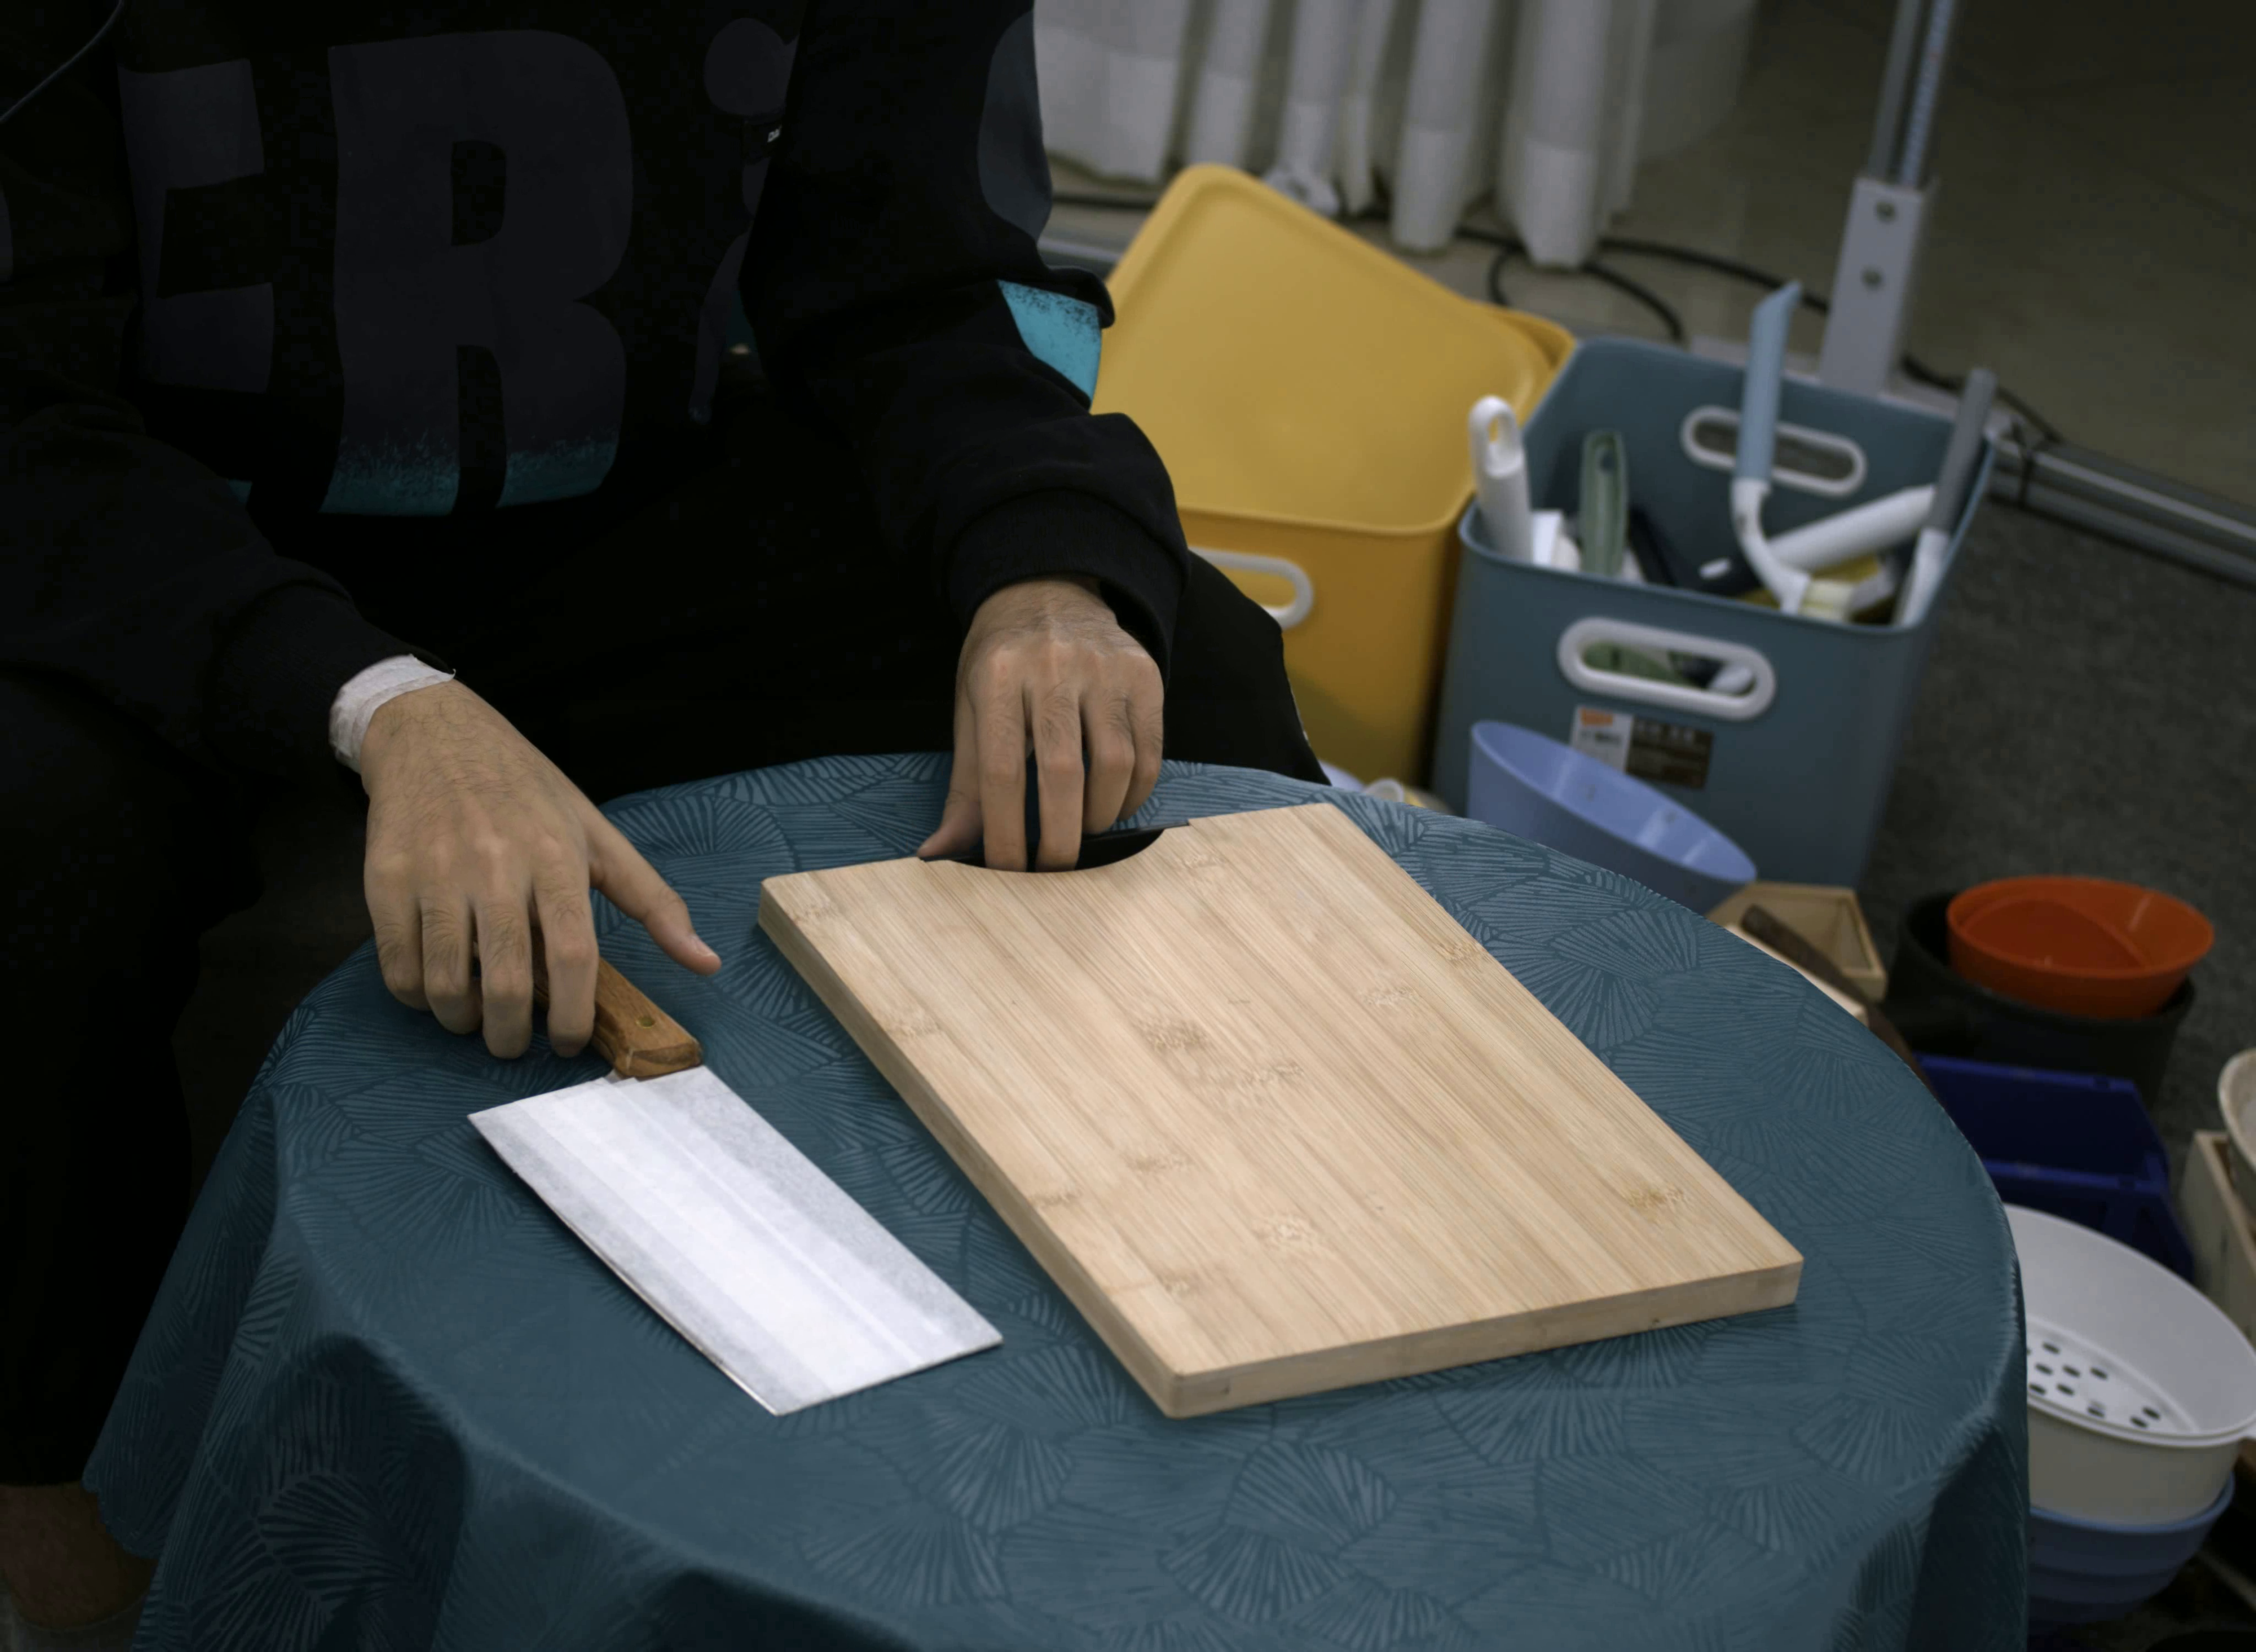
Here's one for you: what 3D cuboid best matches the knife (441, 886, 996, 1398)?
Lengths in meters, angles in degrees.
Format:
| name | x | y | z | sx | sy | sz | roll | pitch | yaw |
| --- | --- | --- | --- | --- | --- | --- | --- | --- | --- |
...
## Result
| name | x | y | z | sx | sy | sz | roll | pitch | yaw |
| --- | --- | --- | --- | --- | --- | --- | --- | --- | --- |
| knife | -0.163 | 0.105 | 1.786 | 0.092 | 0.021 | 0.308 | -15 | 36 | -34 |

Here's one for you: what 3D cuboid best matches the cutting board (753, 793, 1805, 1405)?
| name | x | y | z | sx | sy | sz | roll | pitch | yaw |
| --- | --- | --- | --- | --- | --- | --- | --- | --- | --- |
| cutting board | 0.044 | 0.088 | 1.864 | 0.249 | 0.023 | 0.352 | -8 | 30 | -26 |
